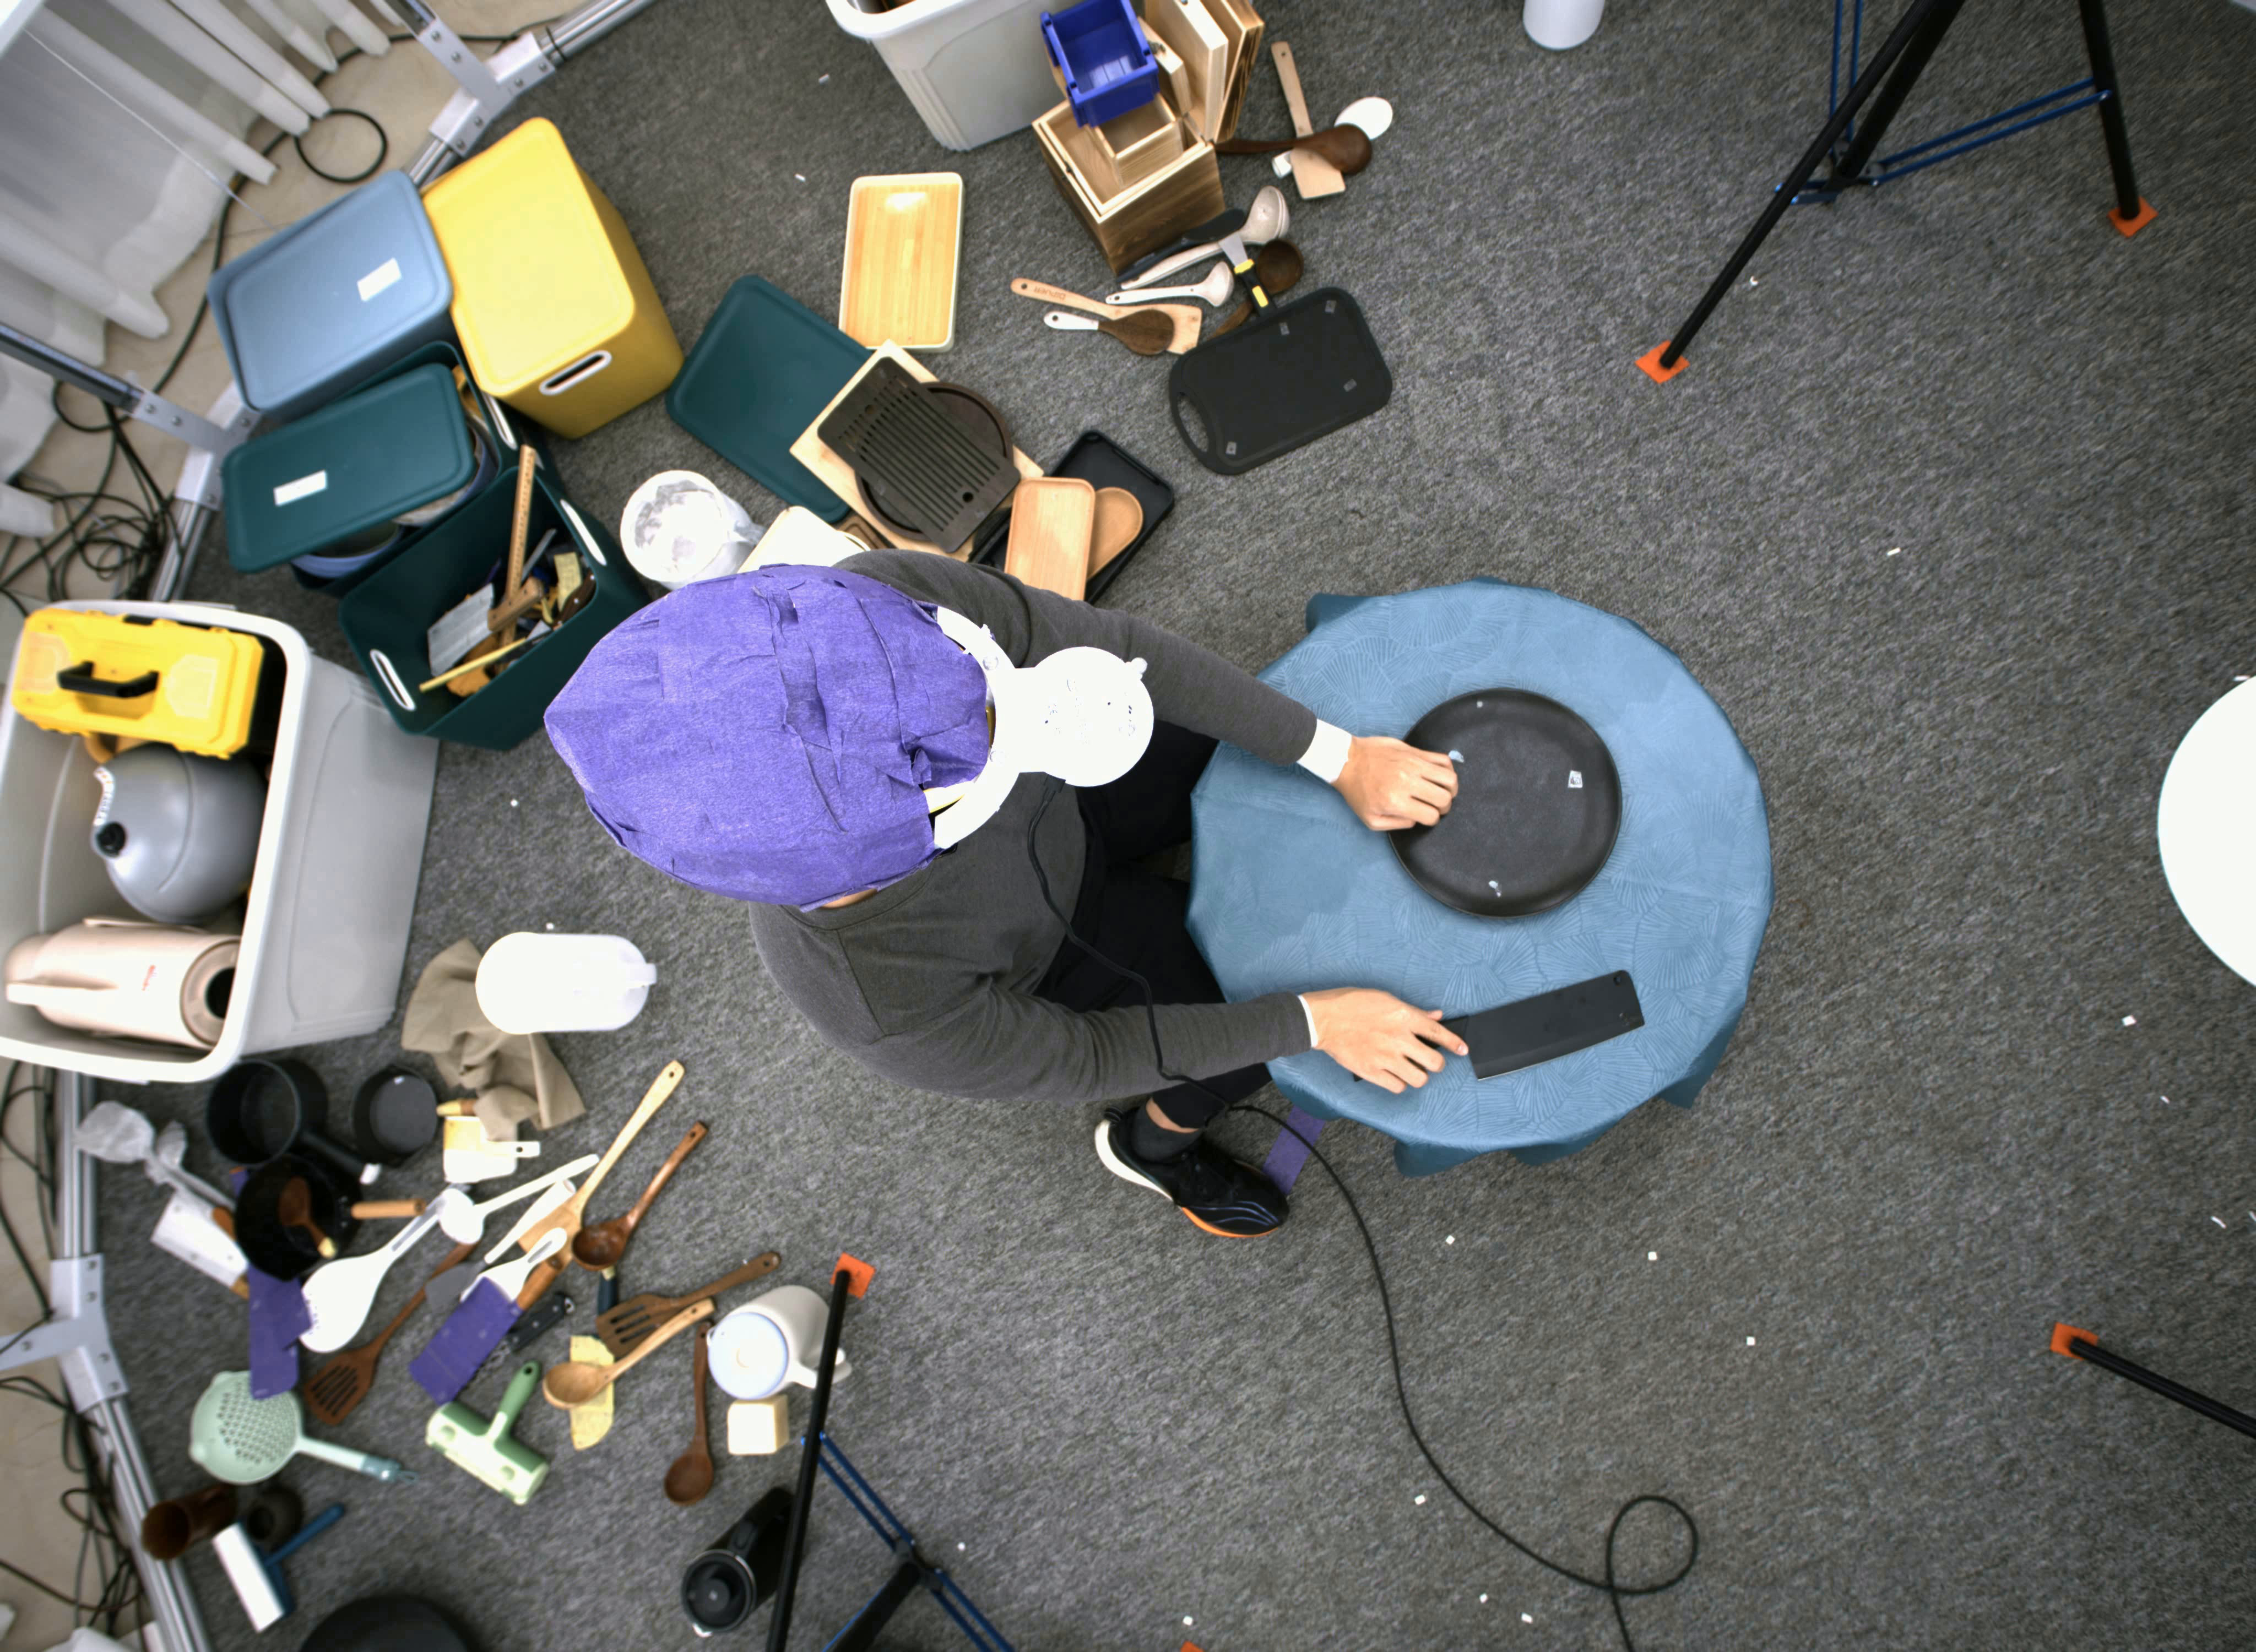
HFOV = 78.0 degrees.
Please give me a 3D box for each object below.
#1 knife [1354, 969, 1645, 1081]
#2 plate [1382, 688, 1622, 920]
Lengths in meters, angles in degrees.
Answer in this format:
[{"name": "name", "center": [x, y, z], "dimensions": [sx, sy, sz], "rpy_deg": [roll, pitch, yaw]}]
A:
[{"name": "knife", "center": [0.380, 0.215, 1.425], "dimensions": [0.304, 0.021, 0.080], "rpy_deg": [-14, 87, 8]}, {"name": "plate", "center": [0.388, -0.025, 1.432], "dimensions": [0.245, 0.023, 0.243], "rpy_deg": [-1, 87, 11]}]
